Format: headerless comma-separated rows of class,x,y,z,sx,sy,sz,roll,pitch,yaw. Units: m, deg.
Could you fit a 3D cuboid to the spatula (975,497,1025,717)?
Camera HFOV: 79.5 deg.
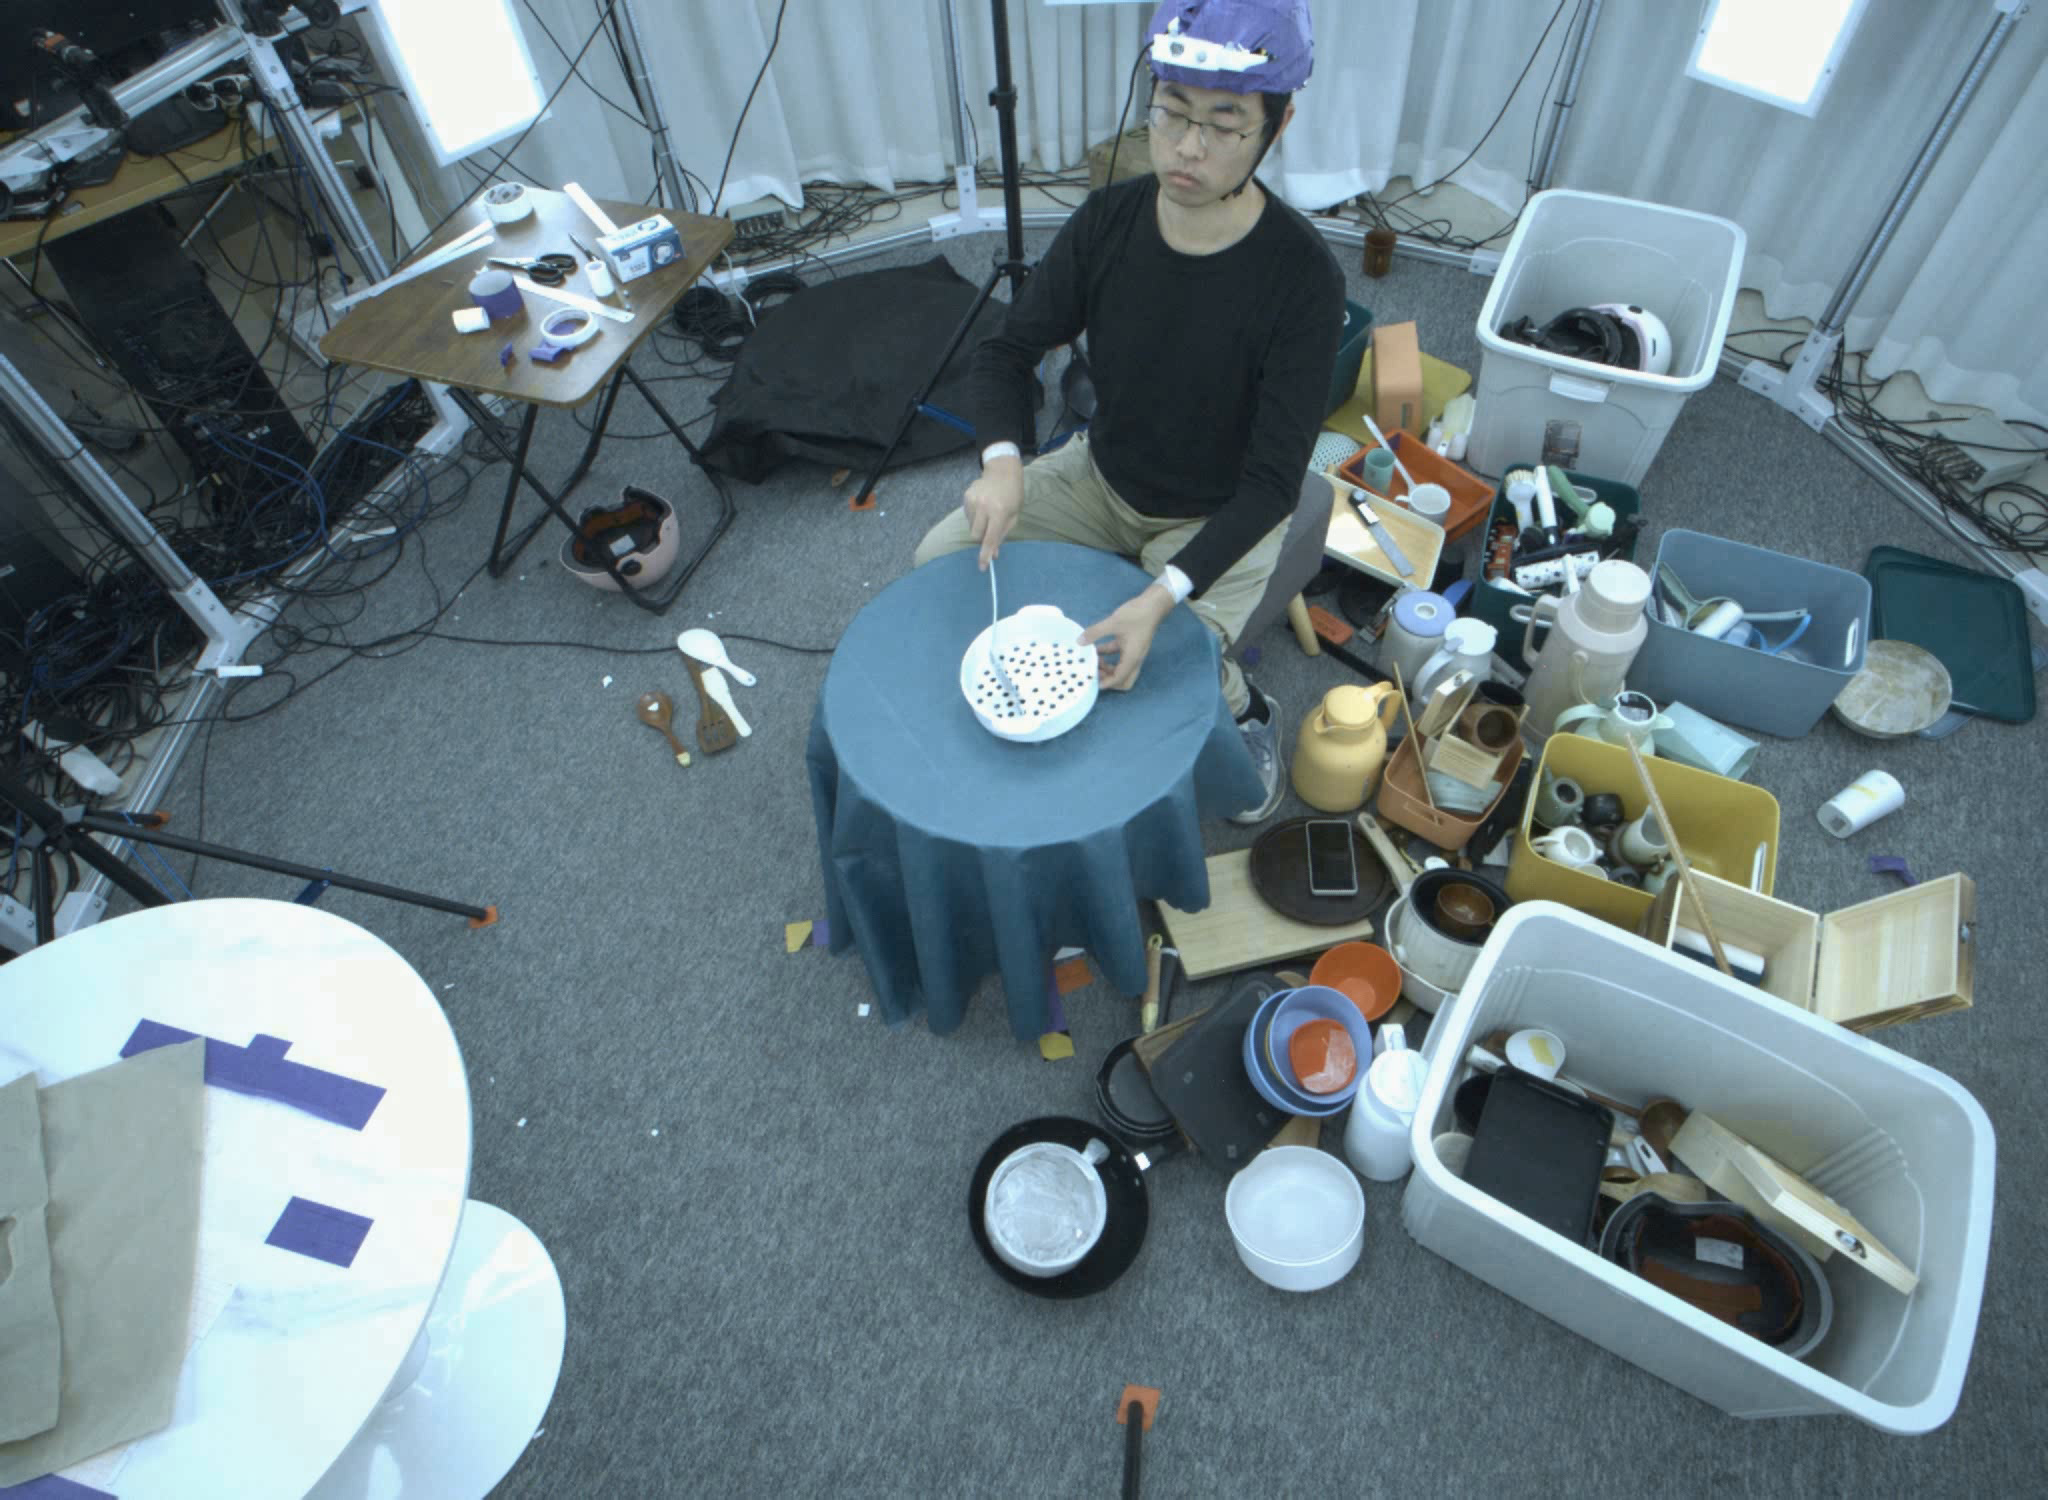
spatula,-0.039,-0.224,1.815,0.044,0.099,0.362,-7,74,5

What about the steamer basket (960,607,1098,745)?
steamer basket,0.010,-0.102,1.807,0.200,0.070,0.229,5,59,12
